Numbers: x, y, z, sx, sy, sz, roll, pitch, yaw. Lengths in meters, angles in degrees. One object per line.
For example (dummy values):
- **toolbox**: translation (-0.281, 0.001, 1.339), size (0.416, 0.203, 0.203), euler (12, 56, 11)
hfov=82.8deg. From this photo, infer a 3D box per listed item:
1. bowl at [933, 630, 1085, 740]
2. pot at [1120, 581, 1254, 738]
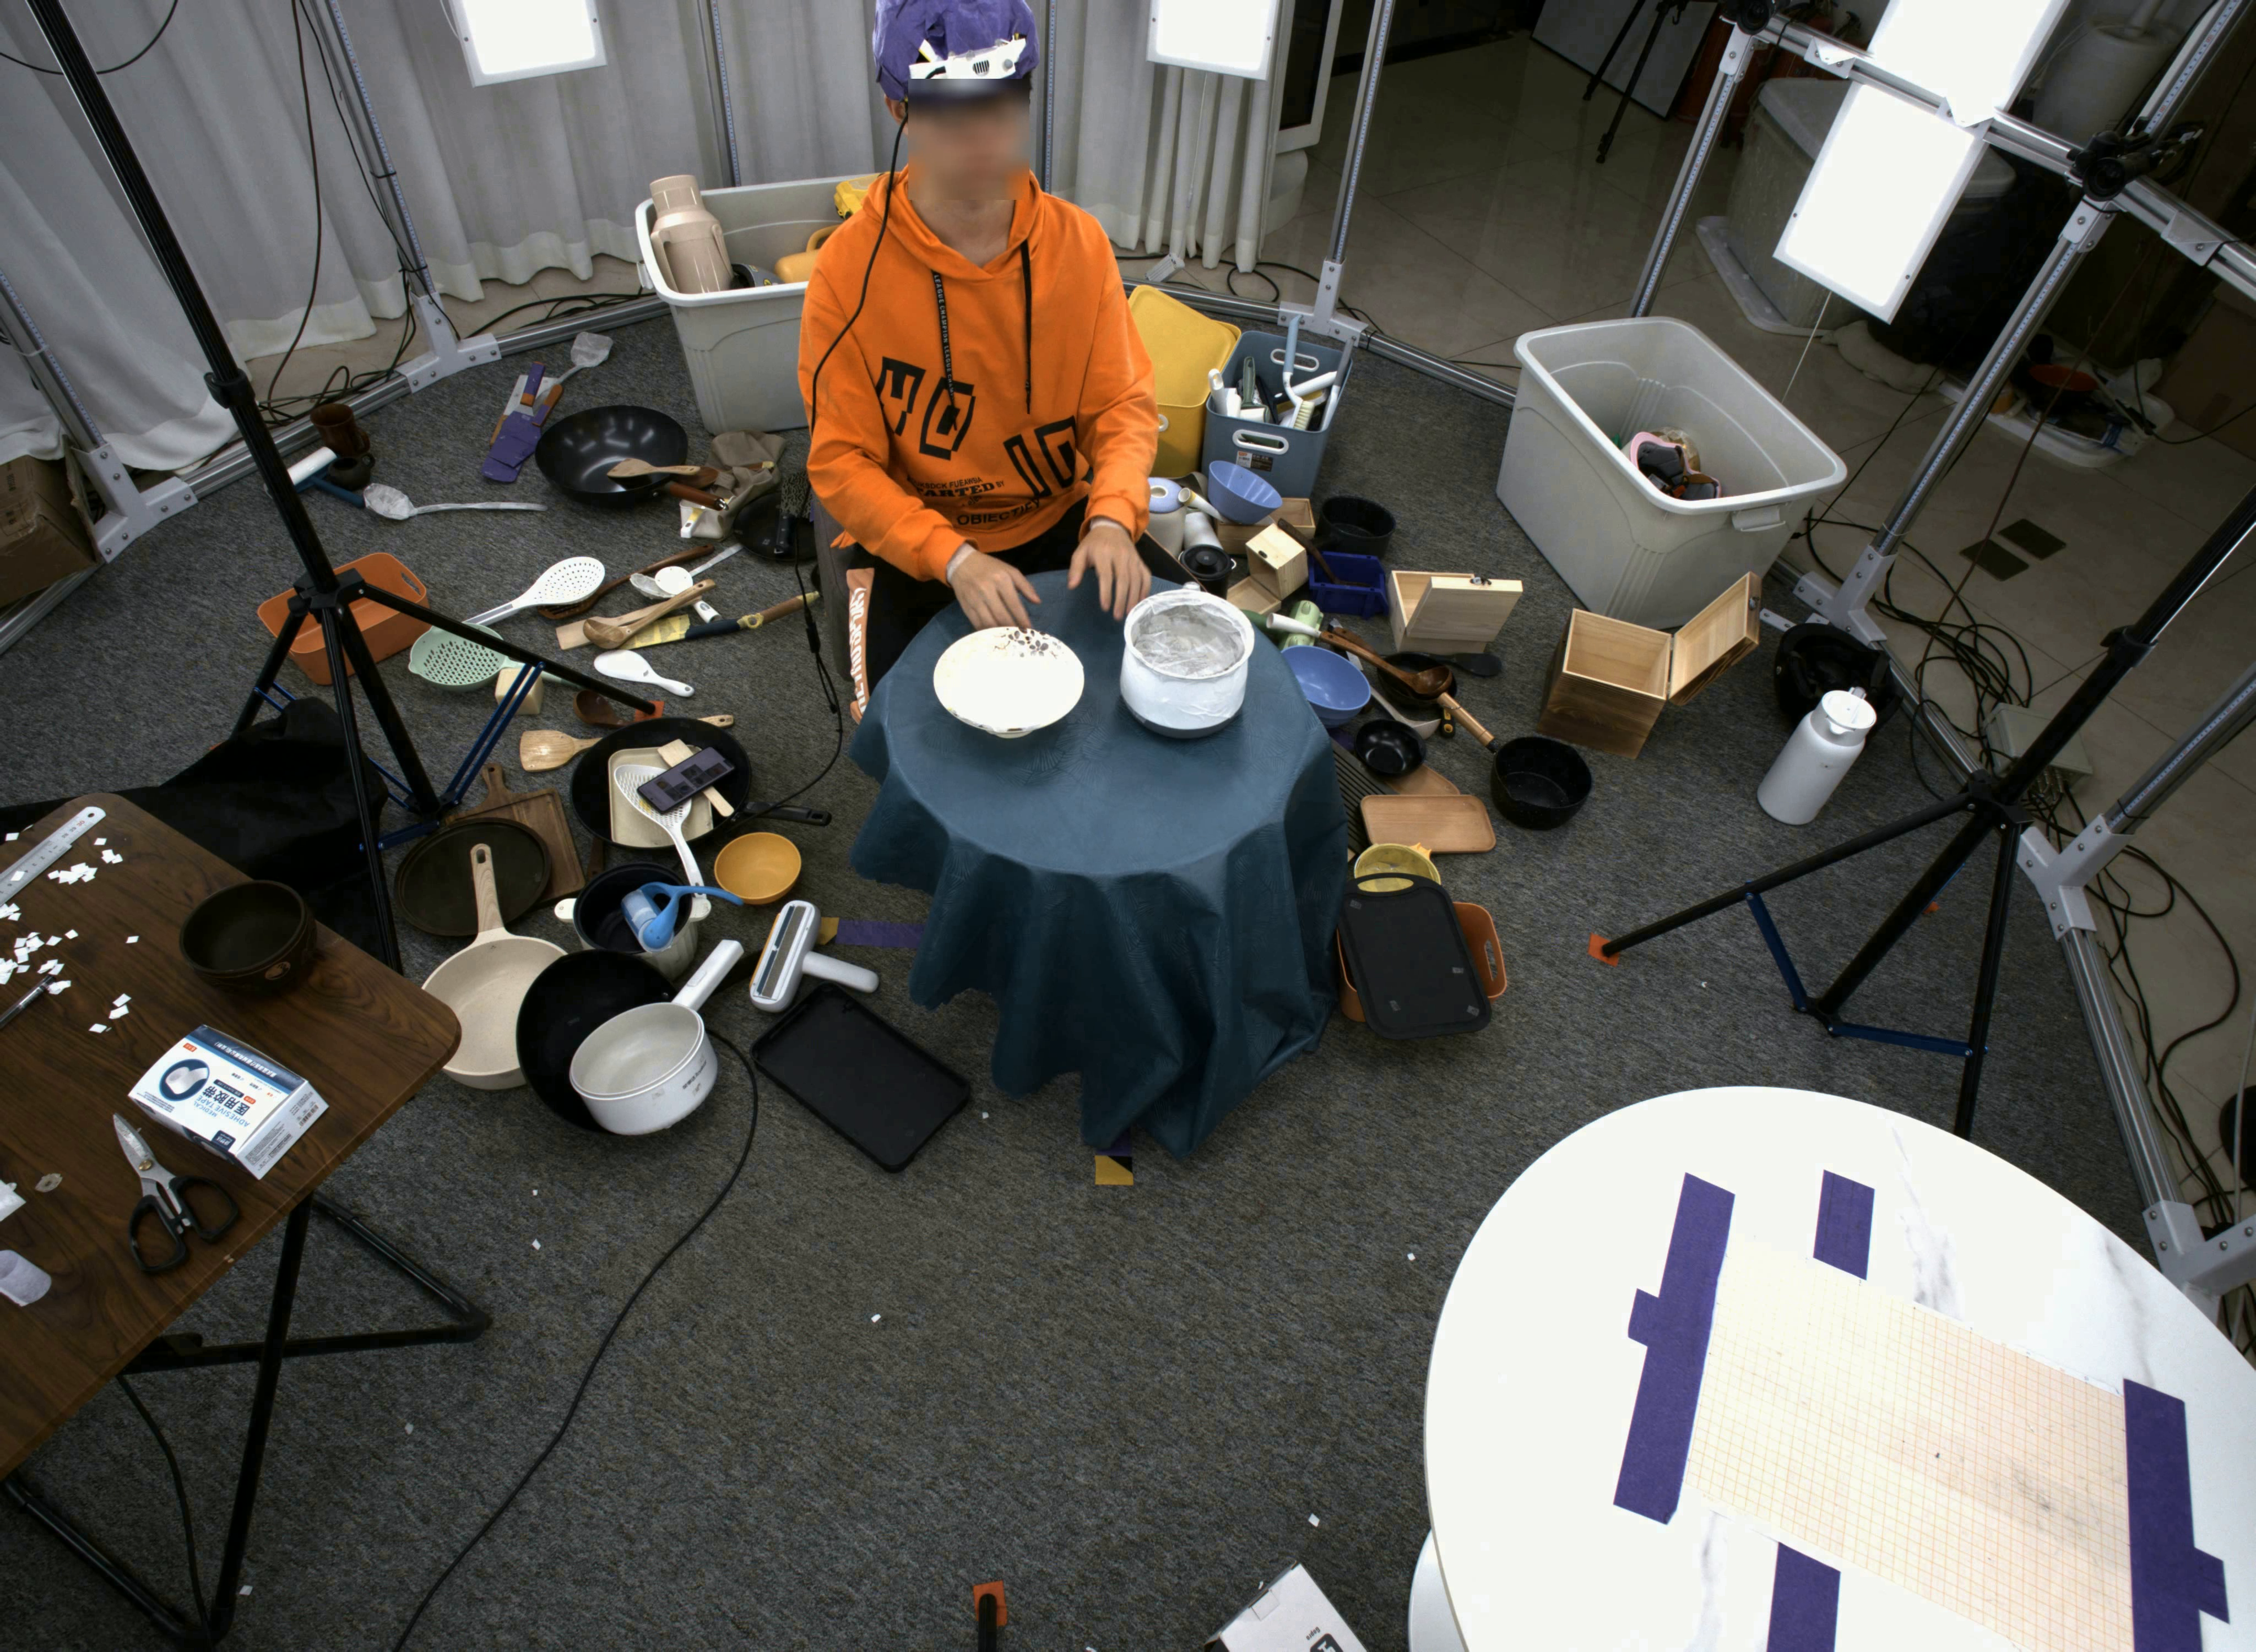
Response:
- **bowl**: translation (-0.162, -0.175, 1.762), size (0.204, 0.076, 0.209), euler (1, 47, -2)
- **pot**: translation (0.080, -0.242, 1.795), size (0.178, 0.133, 0.239), euler (5, 49, -1)
